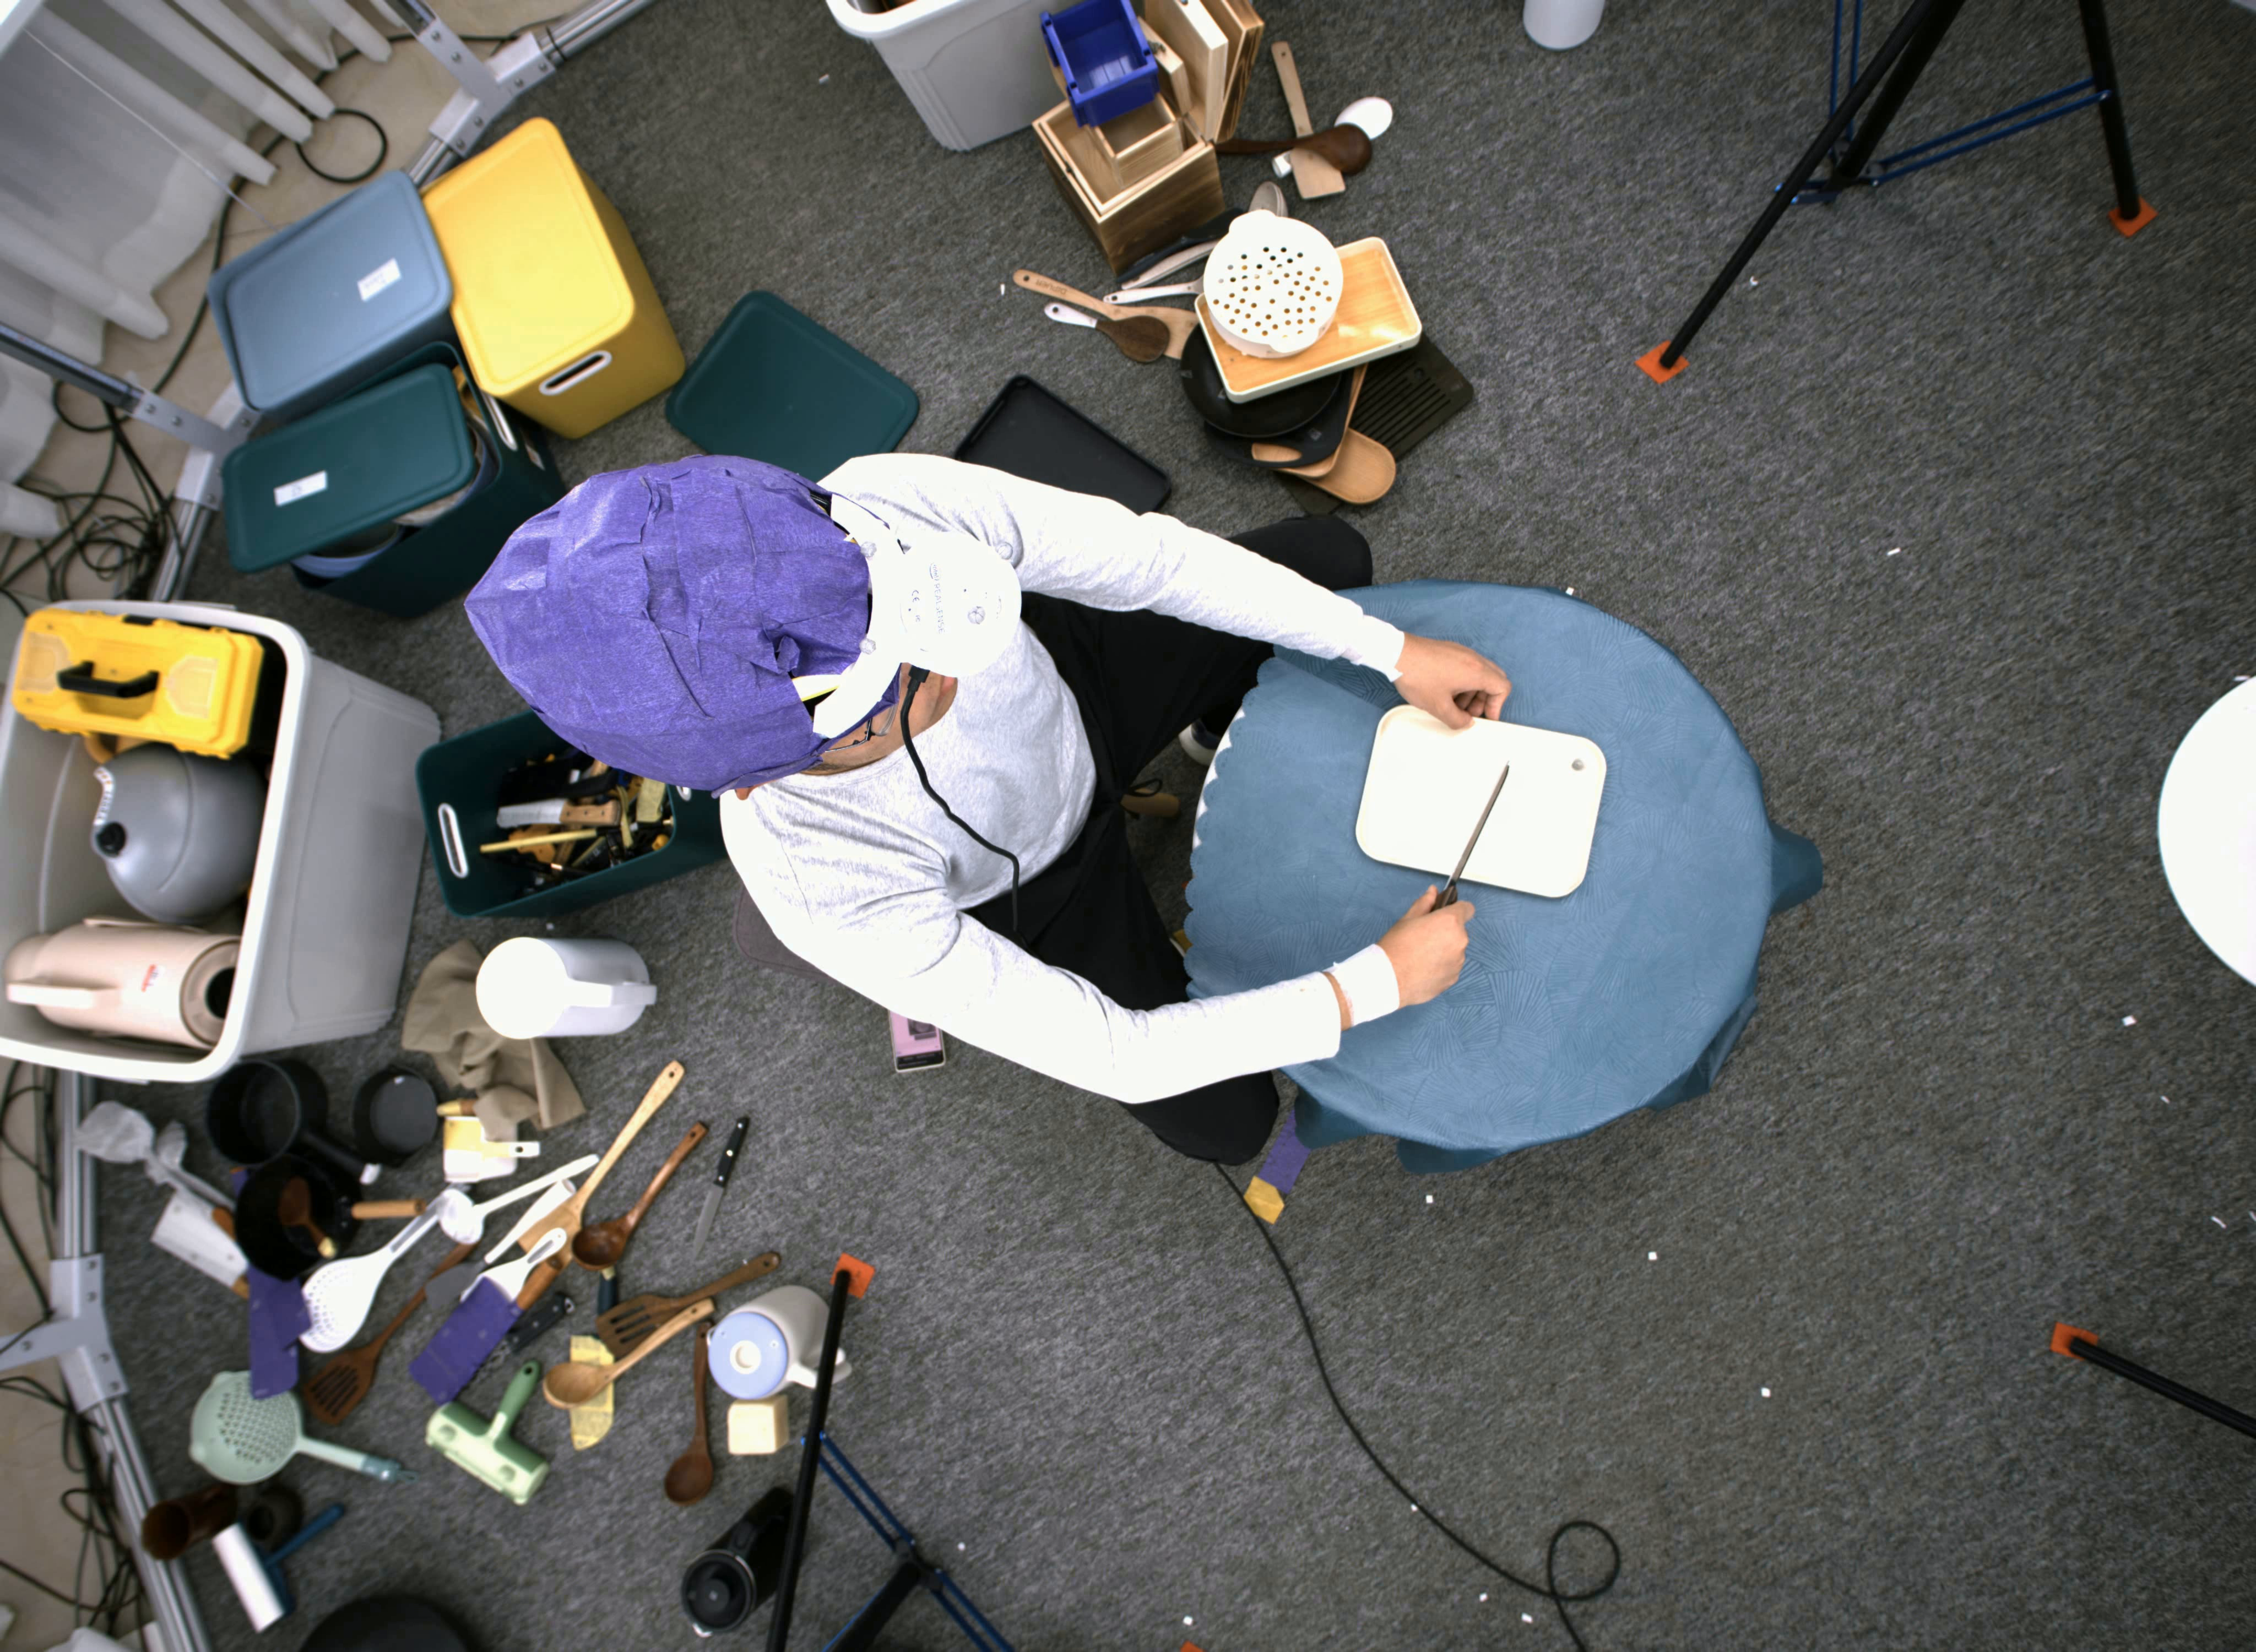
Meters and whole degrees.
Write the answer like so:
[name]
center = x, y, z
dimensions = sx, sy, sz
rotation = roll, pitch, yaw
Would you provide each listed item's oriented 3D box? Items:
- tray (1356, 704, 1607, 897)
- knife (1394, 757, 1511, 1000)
[tray]
center = 0.369, -0.029, 1.438
dimensions = 0.240, 0.017, 0.171
rotation = 13, 89, 11
[knife]
center = 0.335, 0.047, 1.399
dimensions = 0.020, 0.051, 0.285
rotation = 28, 76, 0
